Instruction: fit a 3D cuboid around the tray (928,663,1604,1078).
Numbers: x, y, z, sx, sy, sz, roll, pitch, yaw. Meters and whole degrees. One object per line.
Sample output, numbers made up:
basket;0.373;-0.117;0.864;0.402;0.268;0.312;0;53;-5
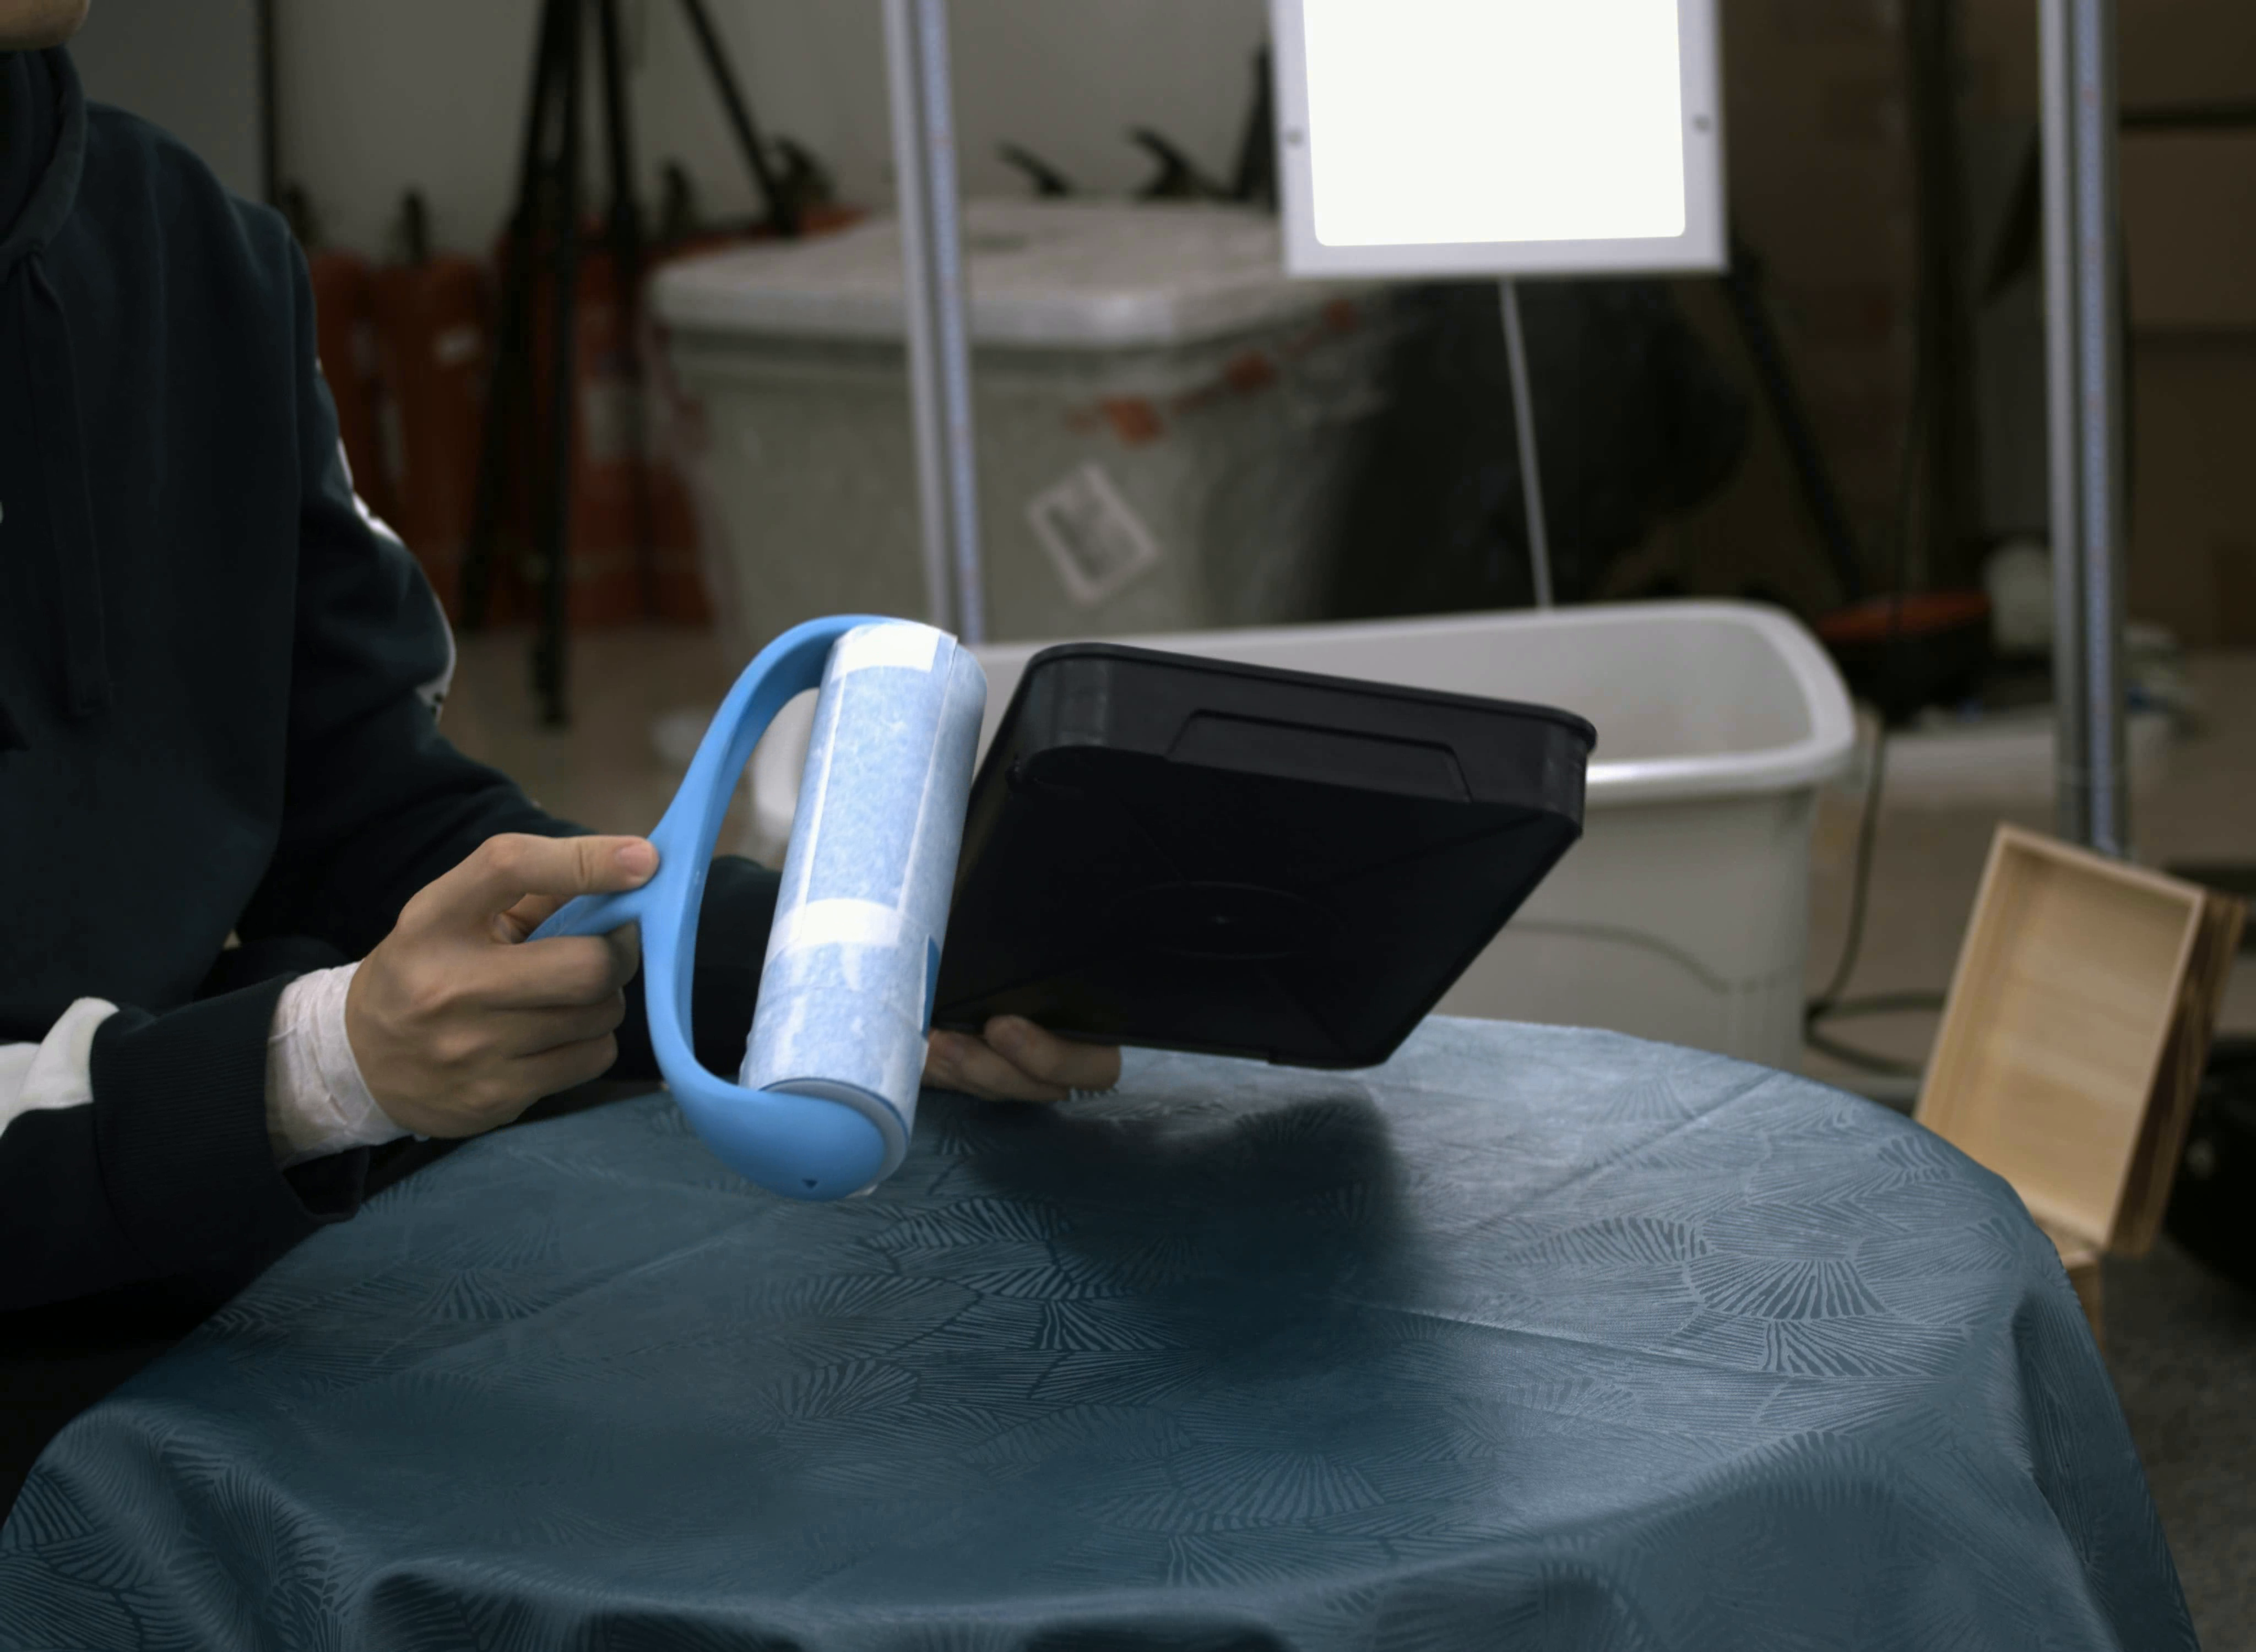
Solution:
tray;0.032;0.021;1.848;0.182;0.037;0.321;8;-18;-9

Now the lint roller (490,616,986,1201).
lint roller;-0.135;0.038;1.717;0.183;0.067;0.228;-17;43;22
